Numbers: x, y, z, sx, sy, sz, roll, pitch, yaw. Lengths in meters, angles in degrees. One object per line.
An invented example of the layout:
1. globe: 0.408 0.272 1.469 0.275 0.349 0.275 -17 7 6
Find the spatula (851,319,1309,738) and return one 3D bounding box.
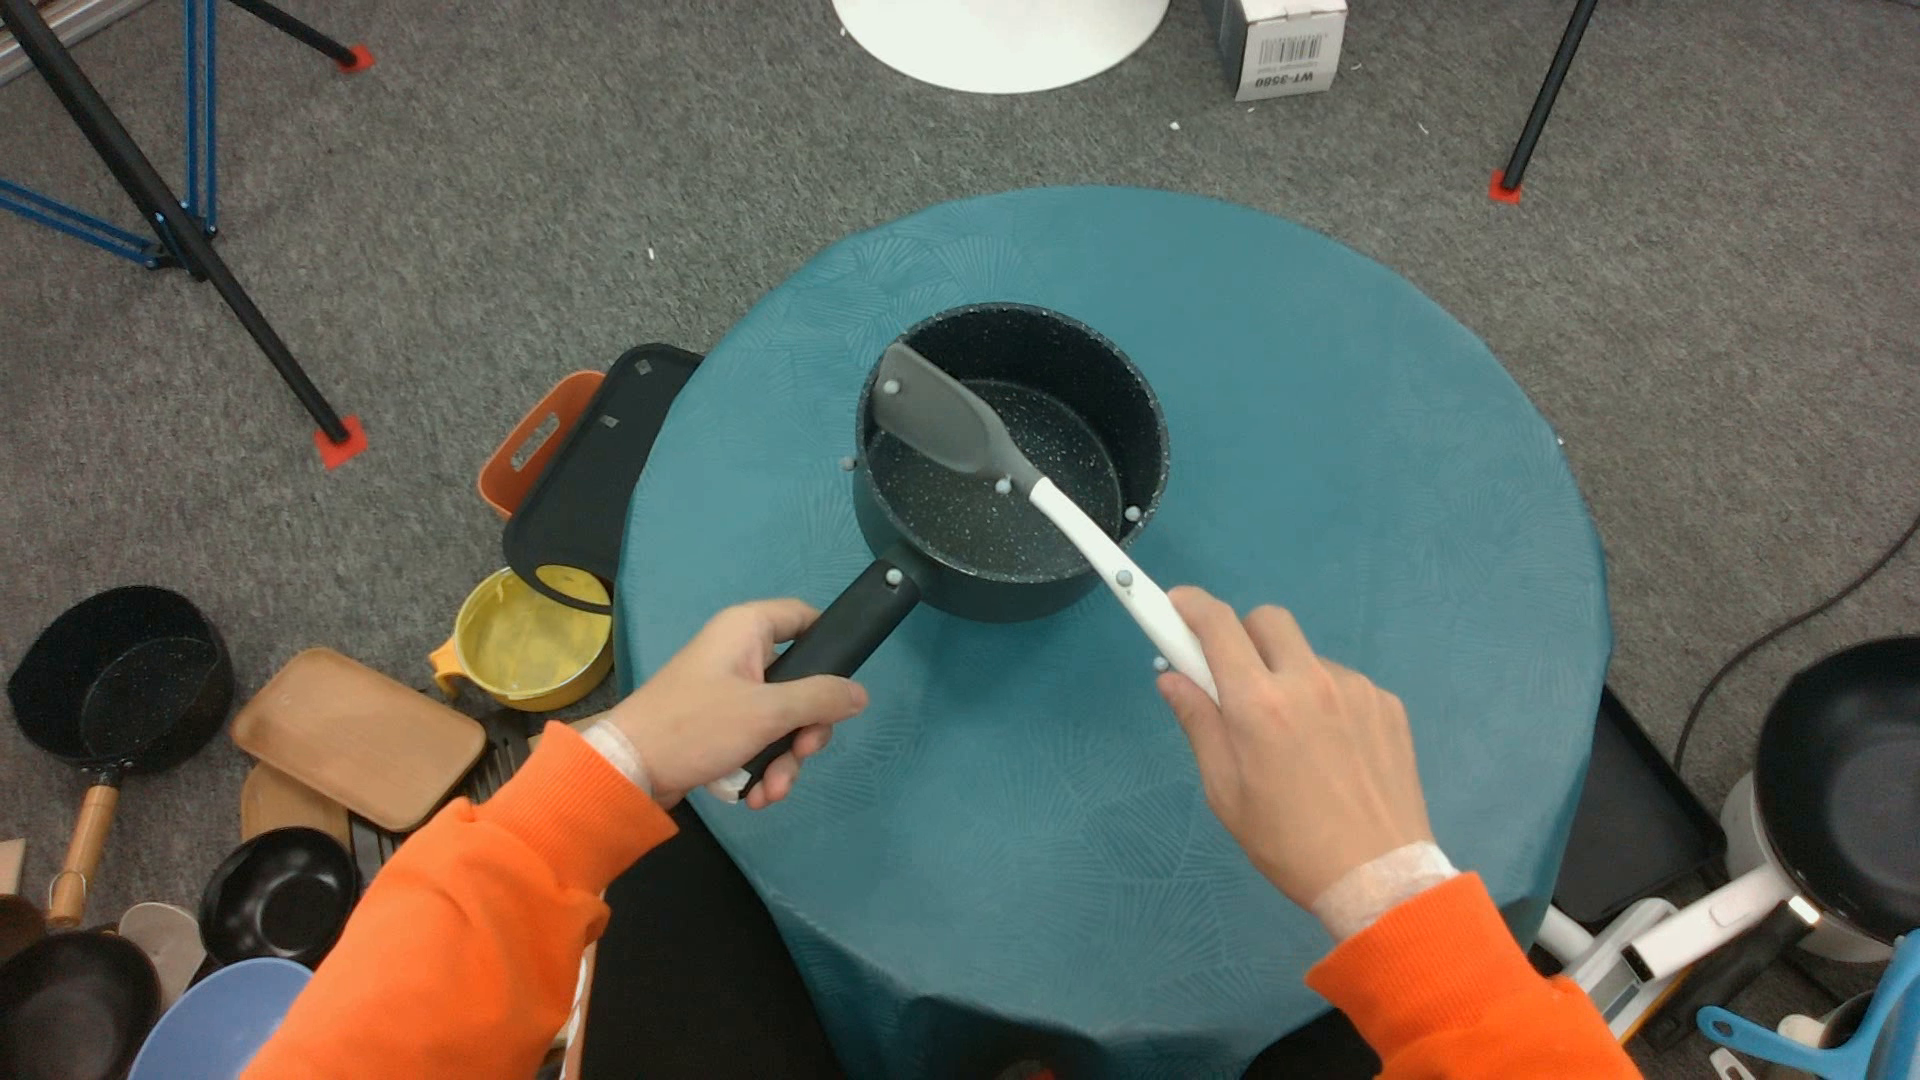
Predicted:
1. spatula: 0.050 -0.011 0.676 0.032 0.058 0.288 -26 59 -40

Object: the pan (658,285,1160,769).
1. pan: -0.030 0.003 0.726 0.172 0.086 0.330 38 63 10
